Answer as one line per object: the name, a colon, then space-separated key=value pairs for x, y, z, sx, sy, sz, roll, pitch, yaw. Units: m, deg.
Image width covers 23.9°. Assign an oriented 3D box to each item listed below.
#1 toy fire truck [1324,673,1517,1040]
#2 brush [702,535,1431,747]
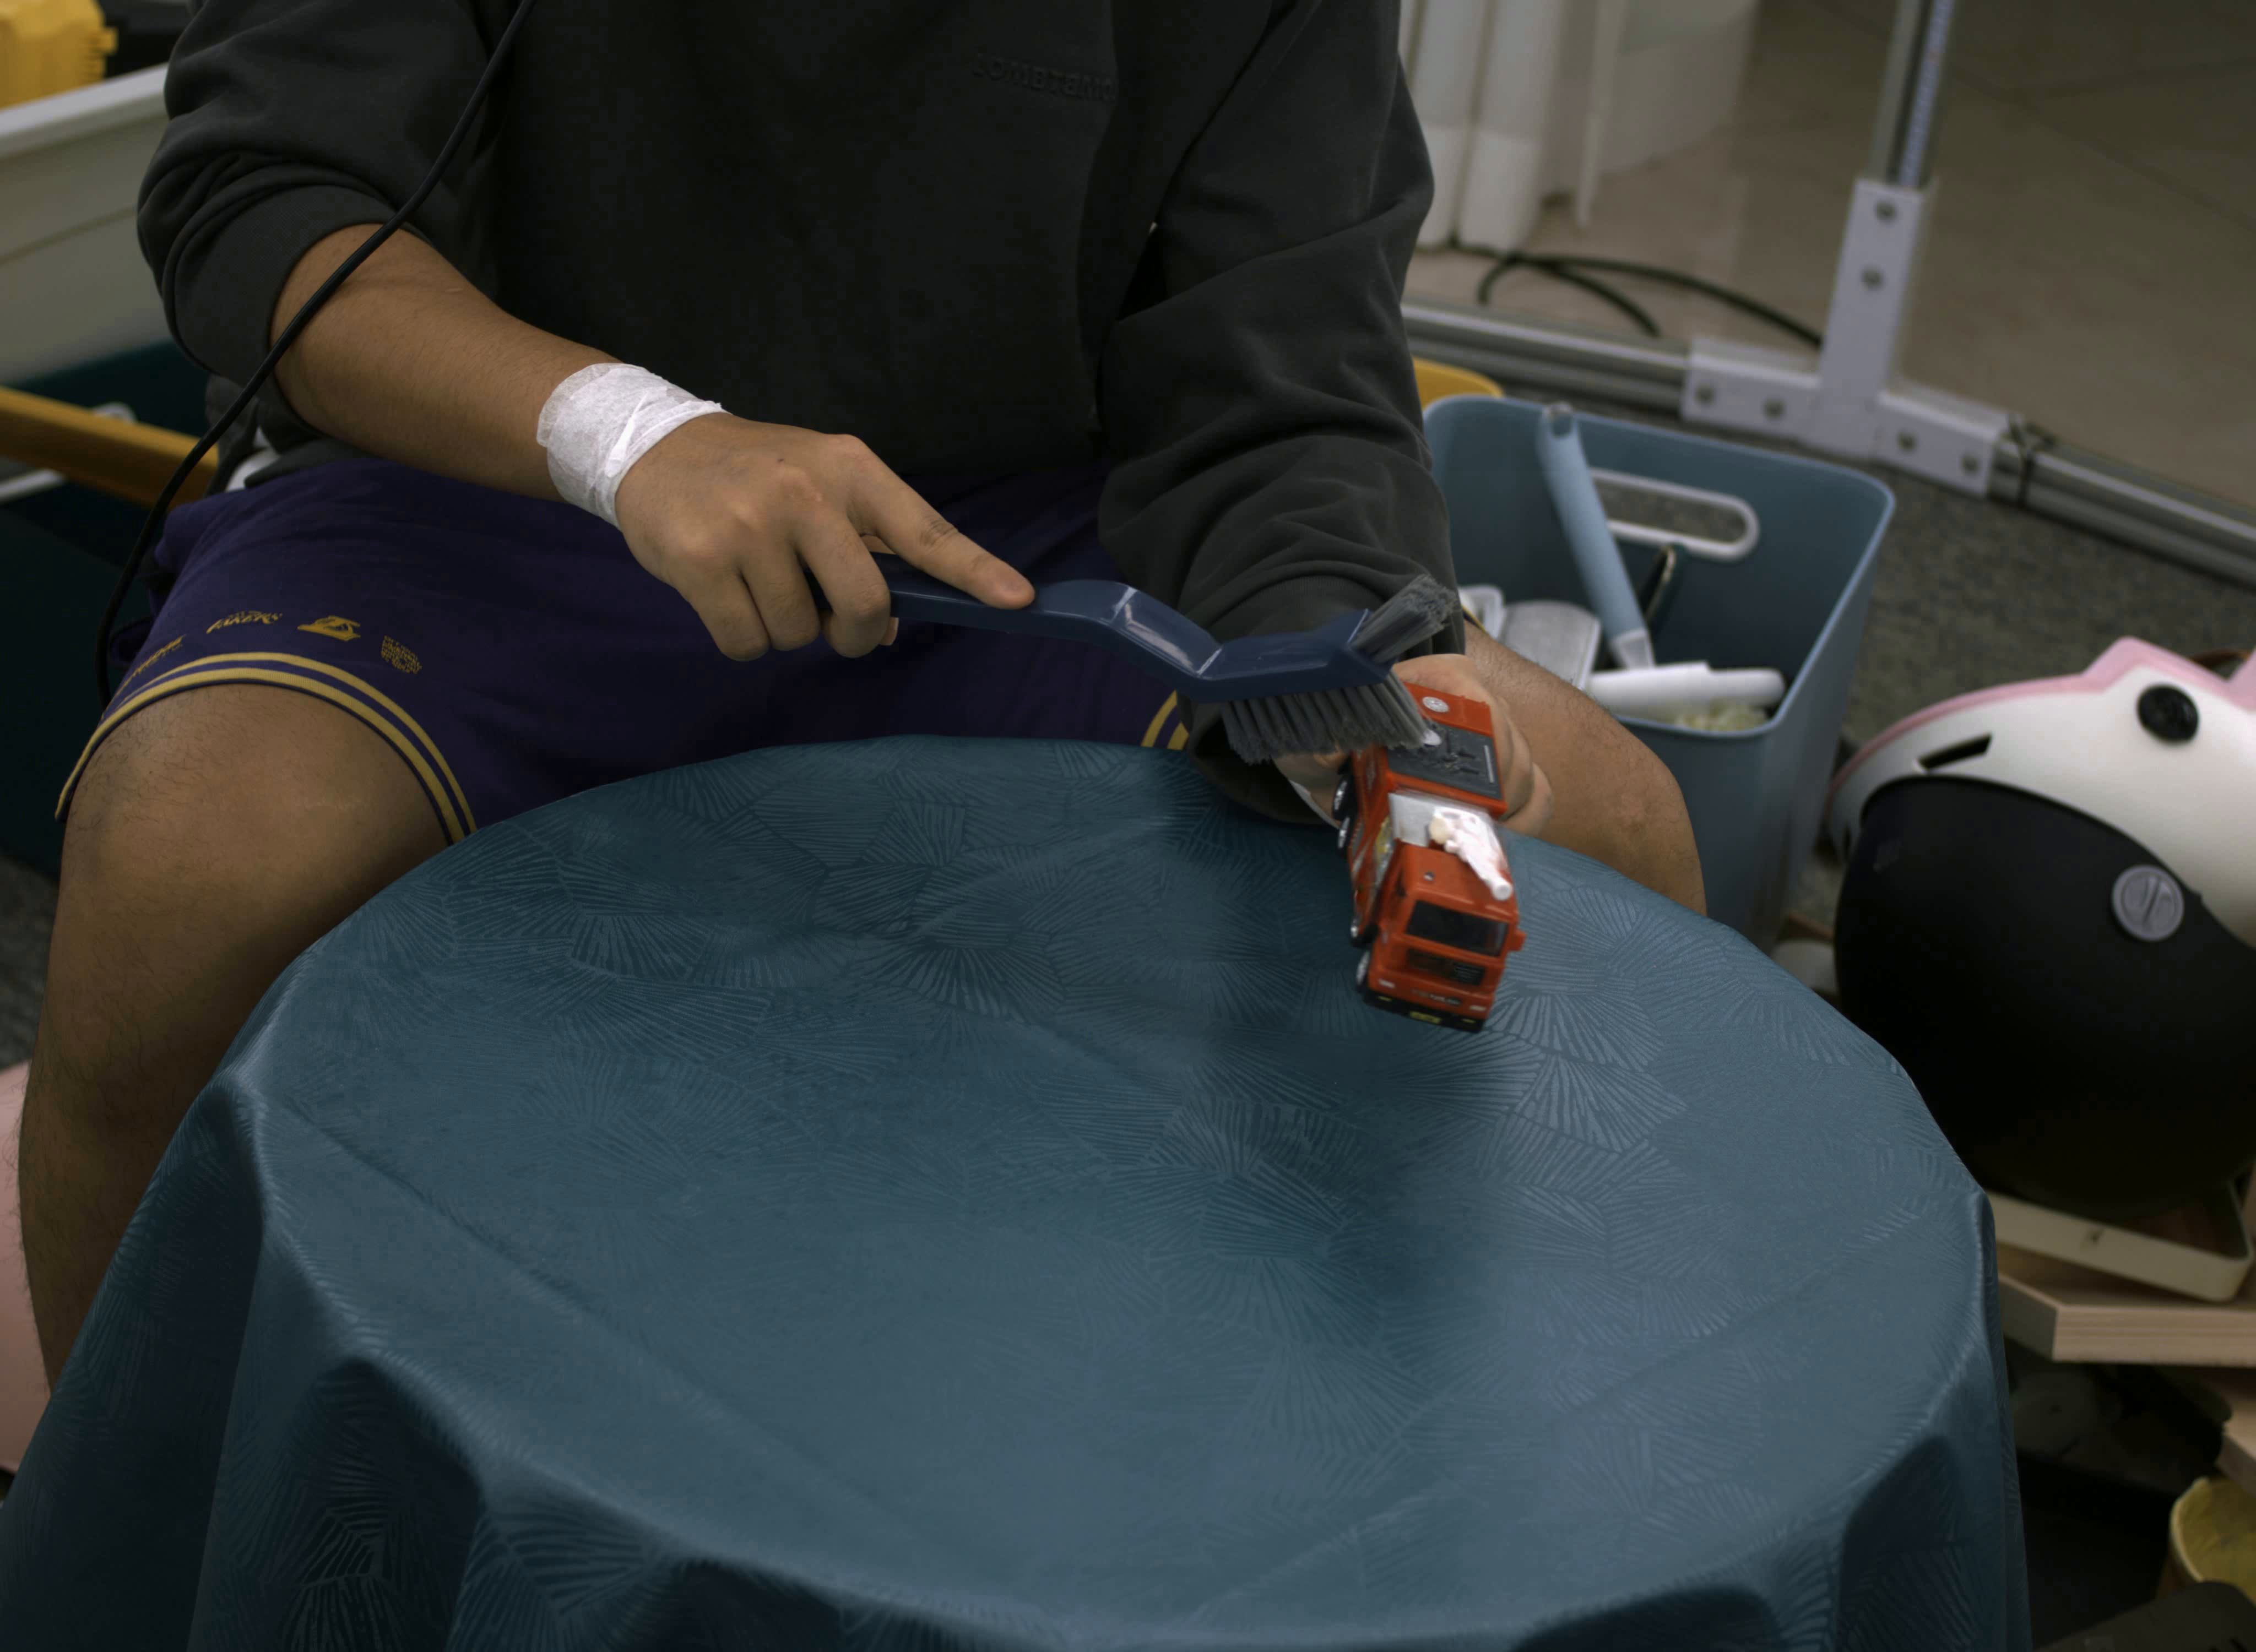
toy fire truck: x=0.102 y=0.008 z=1.837 sx=0.054 sy=0.070 sz=0.169 roll=15 pitch=28 yaw=-11
brush: x=-0.024 y=-0.082 z=1.864 sx=0.274 sy=0.095 sz=0.033 roll=15 pitch=47 yaw=17
